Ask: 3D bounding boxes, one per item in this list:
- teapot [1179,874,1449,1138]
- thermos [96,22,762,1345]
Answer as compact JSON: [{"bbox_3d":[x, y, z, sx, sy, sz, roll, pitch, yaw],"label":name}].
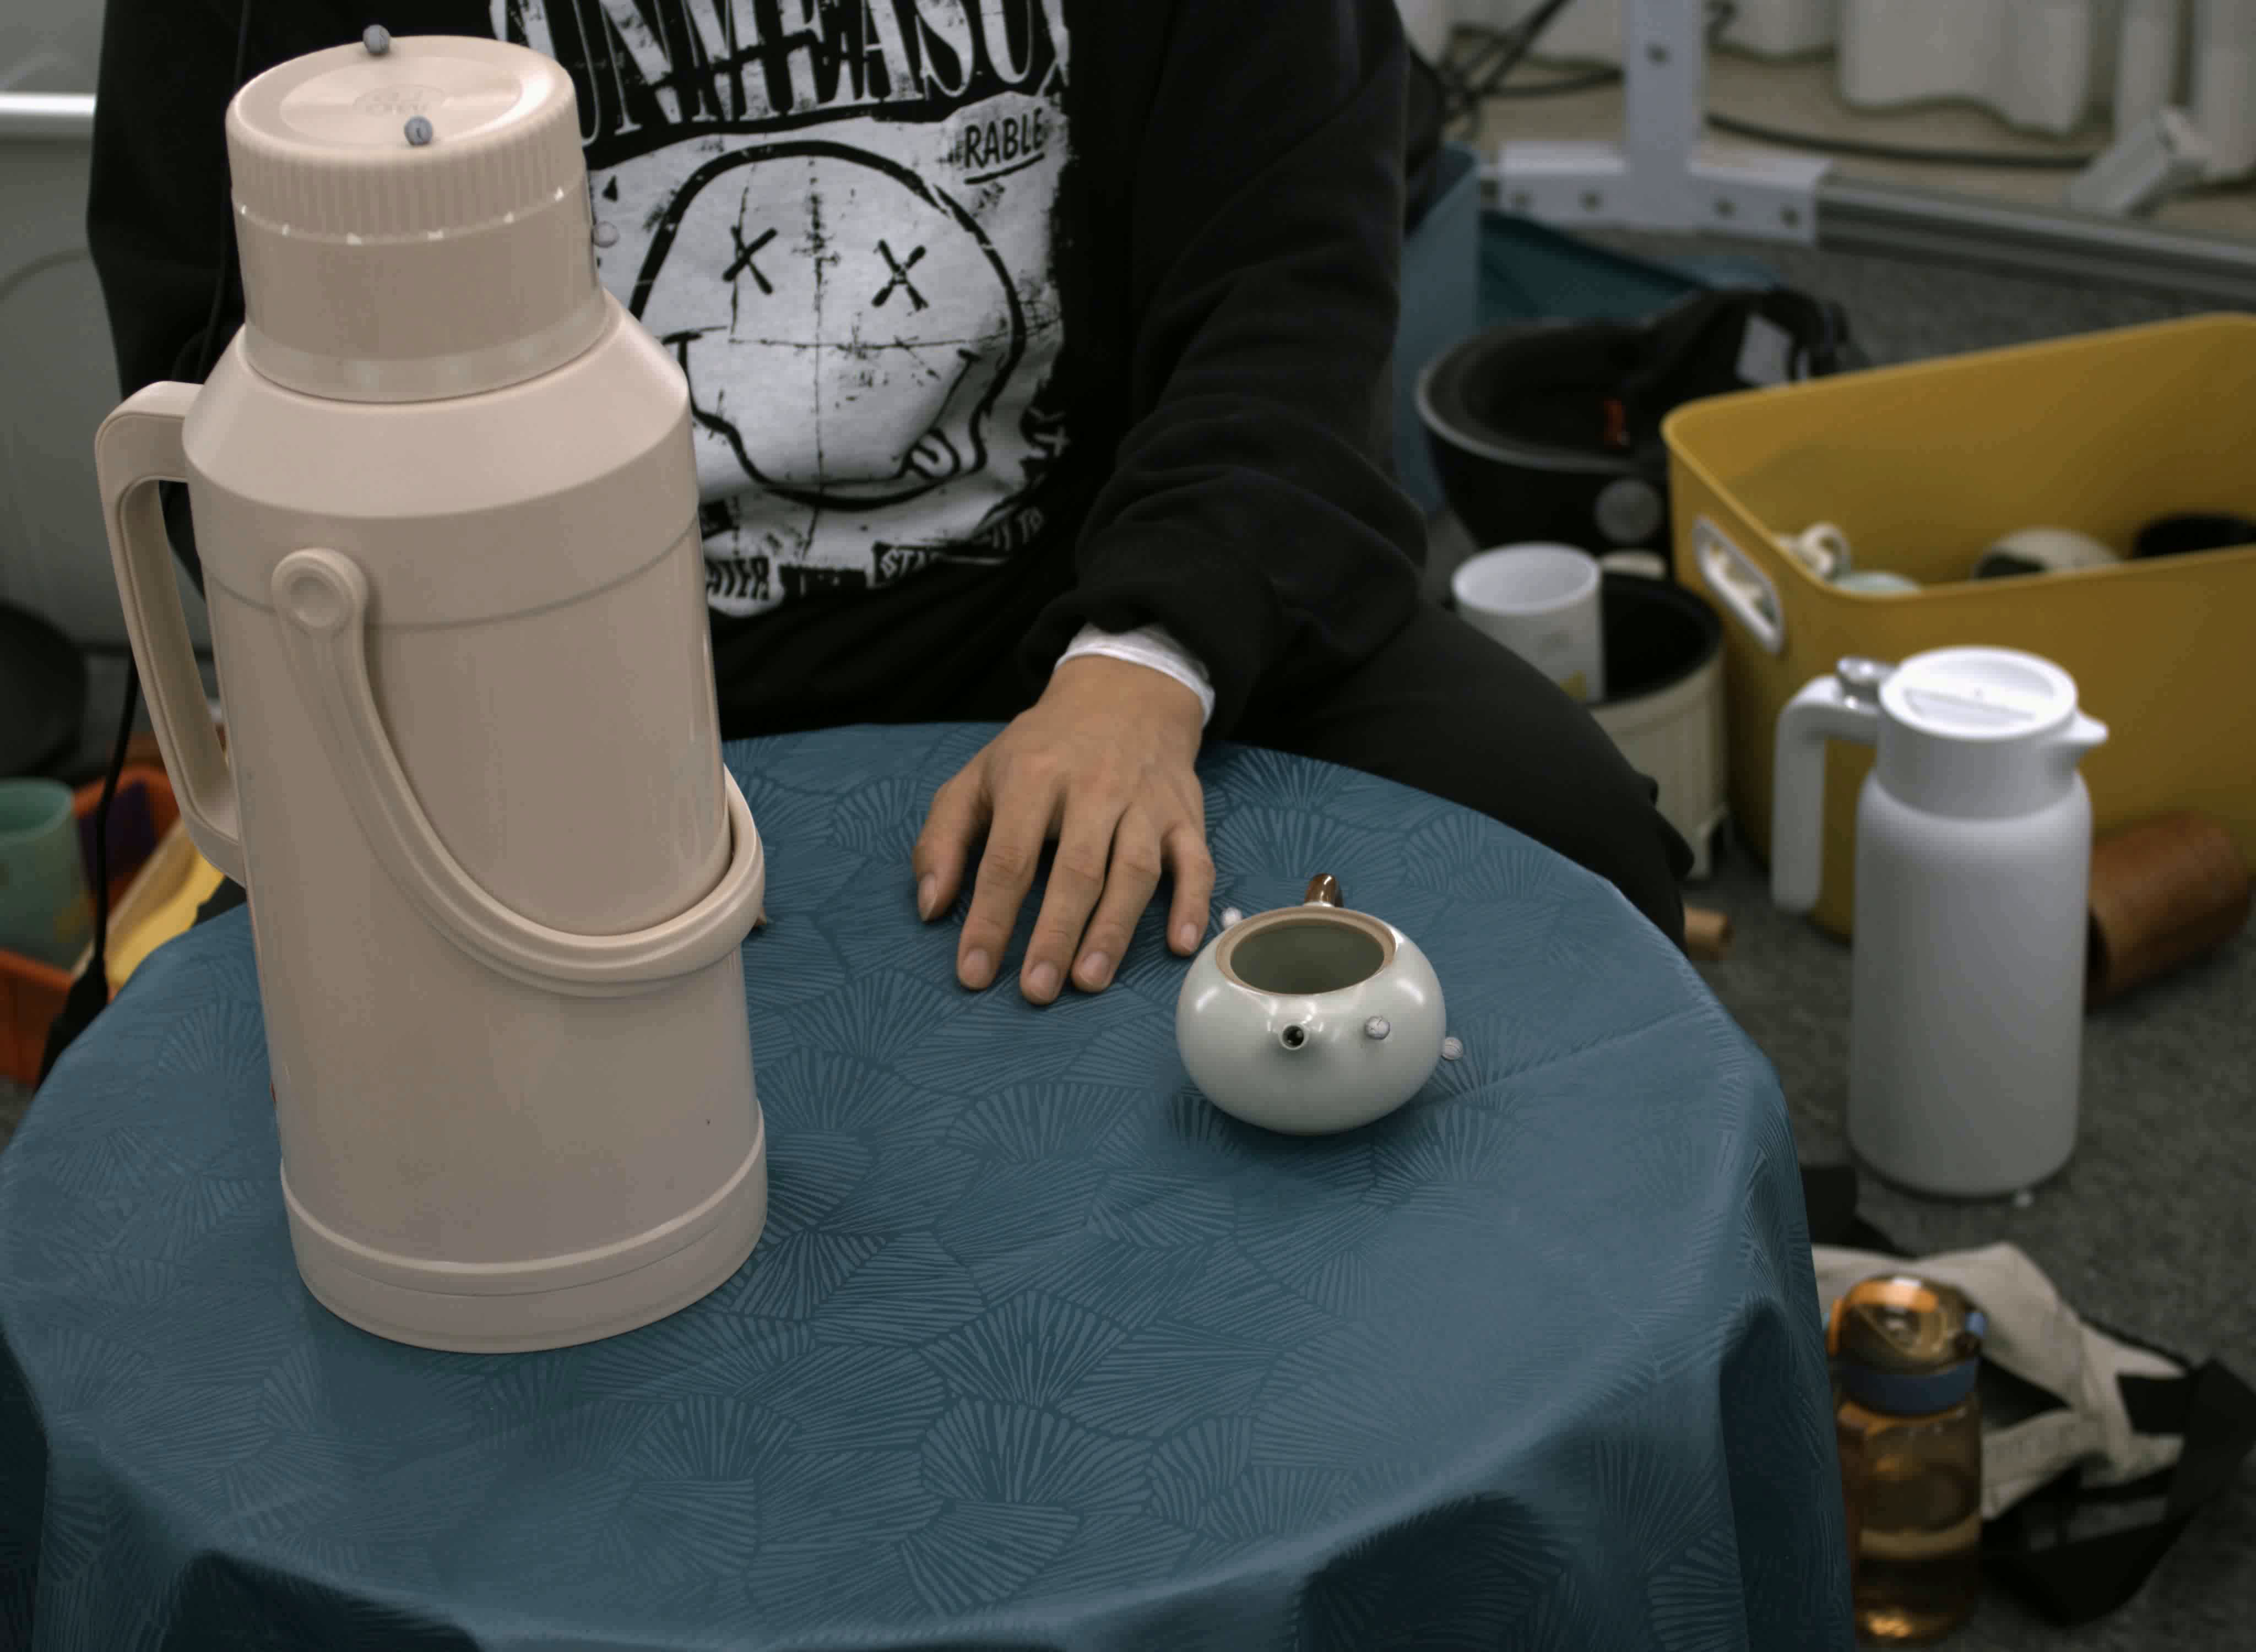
[{"bbox_3d":[0.063,0.062,1.905,0.091,0.059,0.130,-4,27,7],"label":"teapot"},{"bbox_3d":[-0.221,-0.046,1.779,0.205,0.402,0.178,6,29,18],"label":"thermos"}]
